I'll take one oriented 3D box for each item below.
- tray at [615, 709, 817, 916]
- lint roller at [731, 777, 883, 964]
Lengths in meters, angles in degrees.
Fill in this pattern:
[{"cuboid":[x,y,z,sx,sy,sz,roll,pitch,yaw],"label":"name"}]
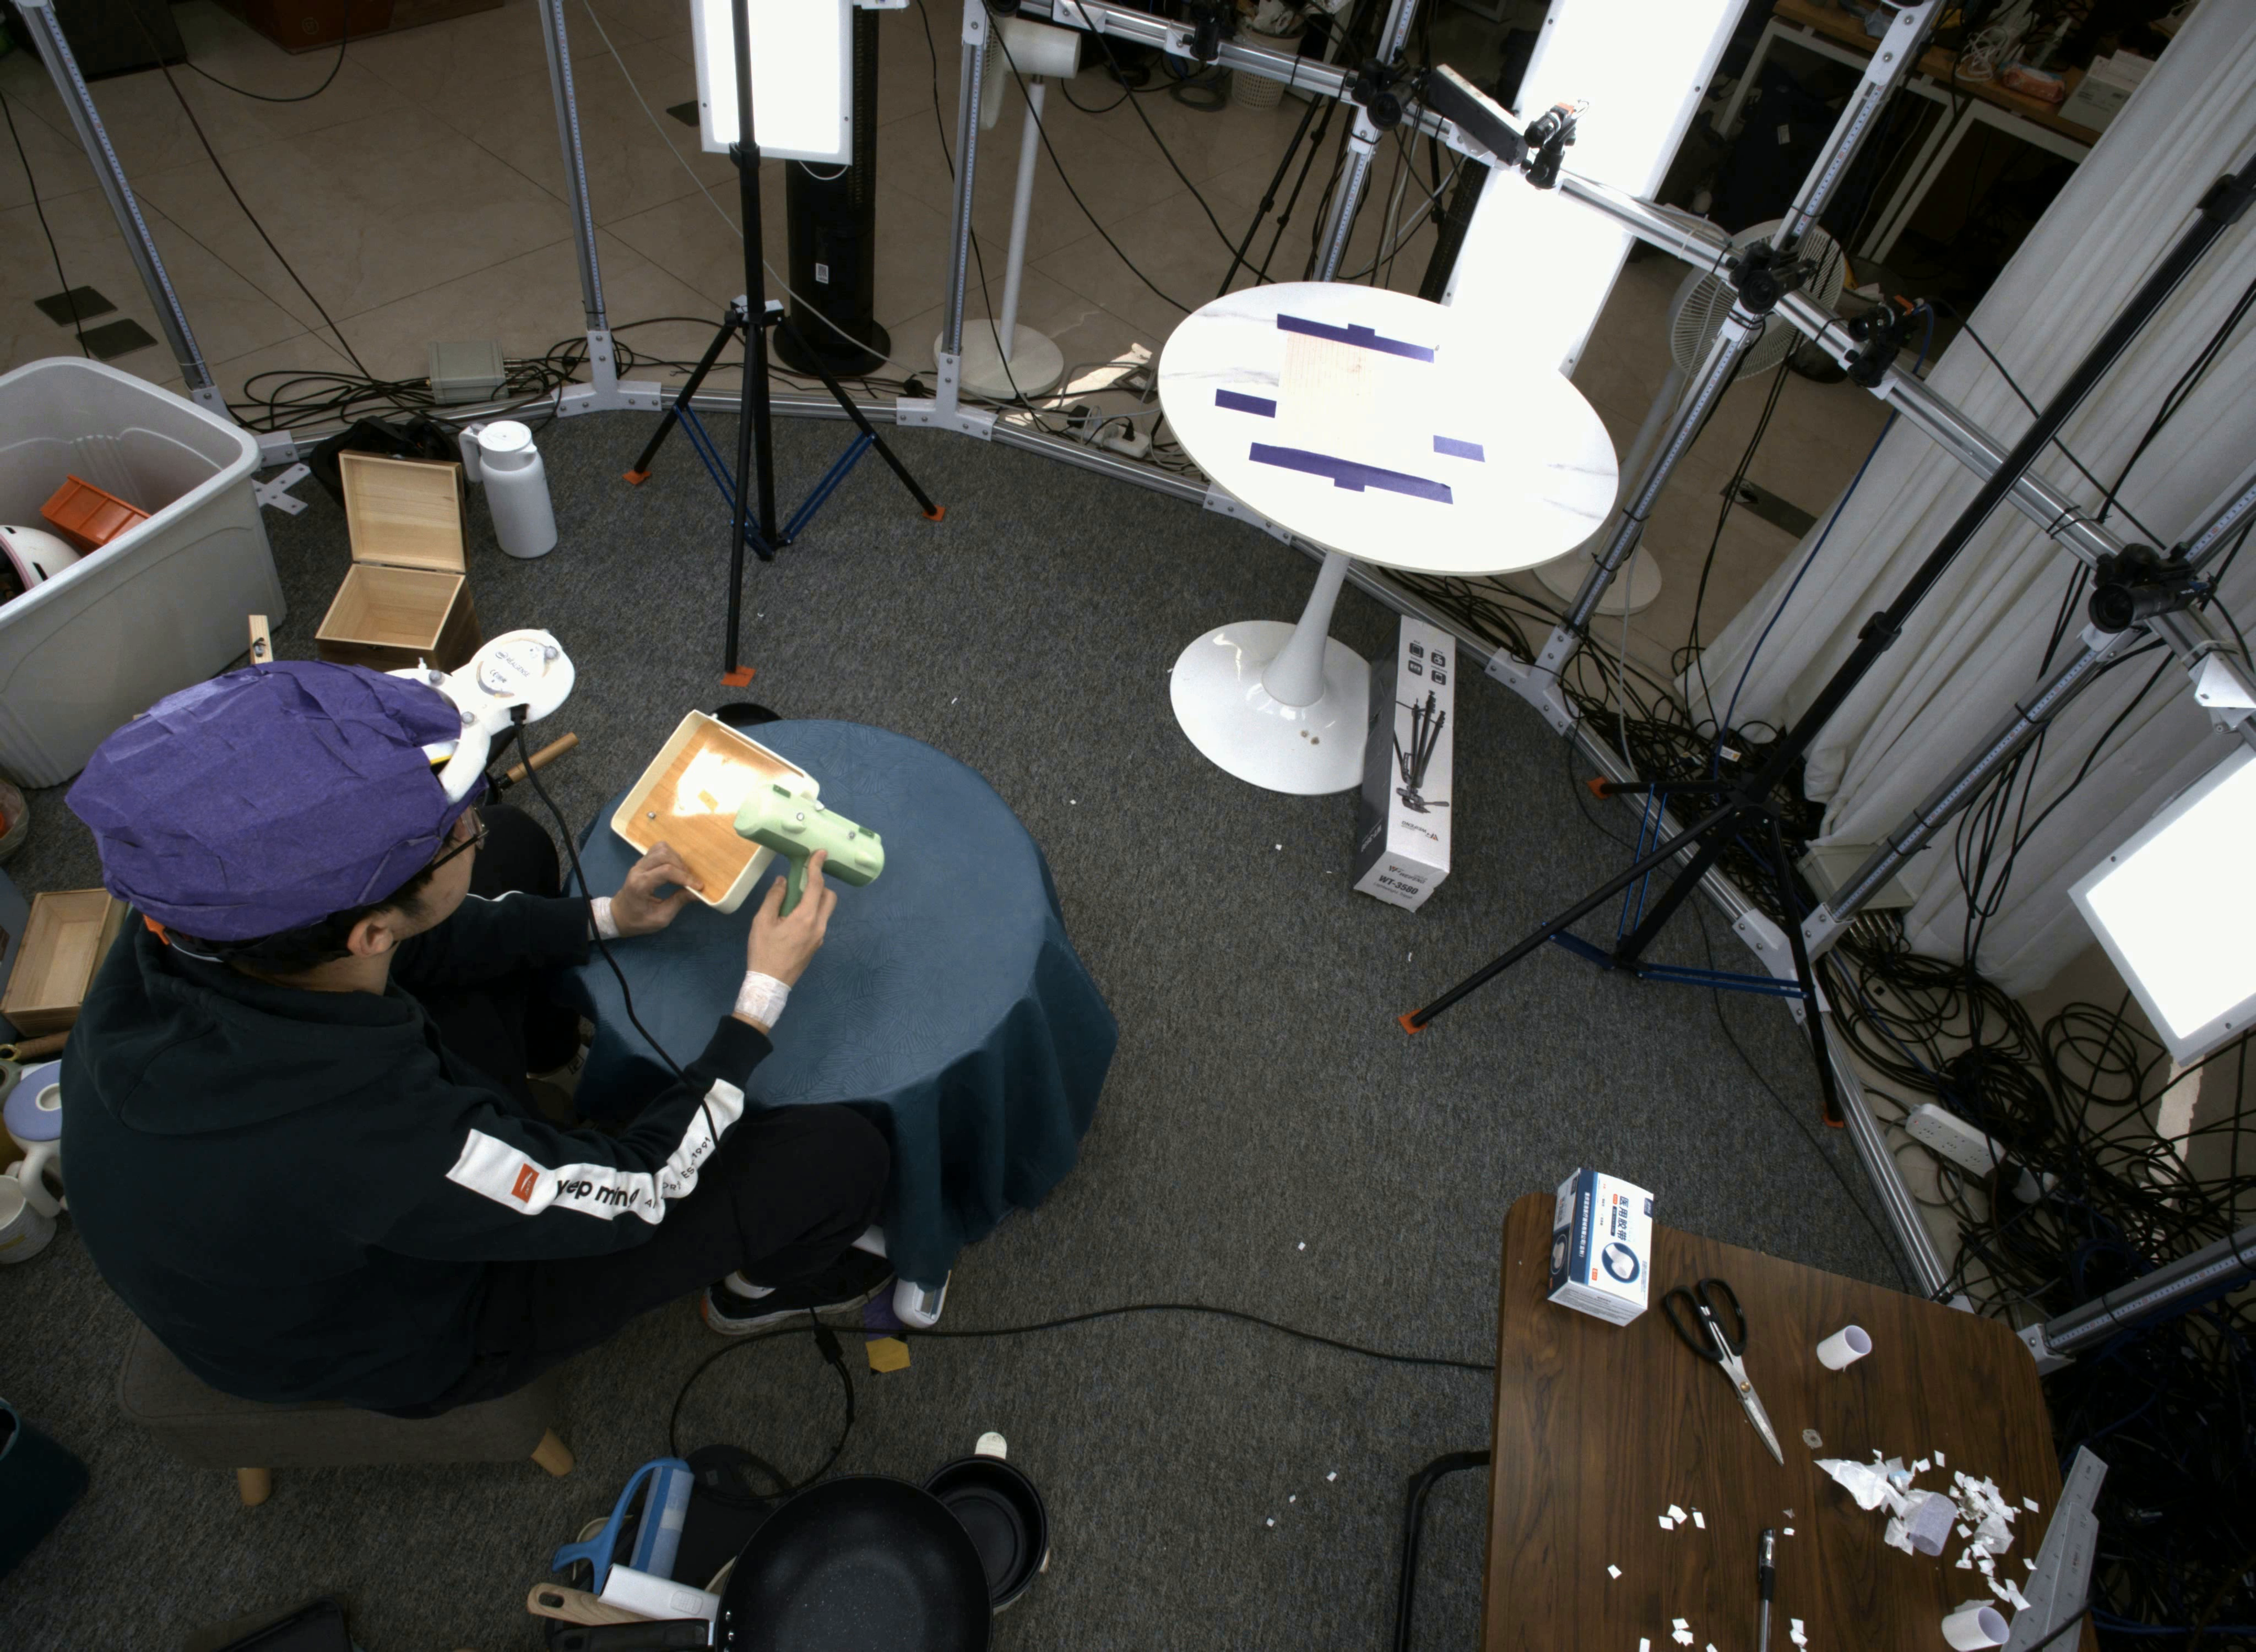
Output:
[{"cuboid":[-0.513,-0.024,1.582,0.289,0.028,0.192,26,80,39],"label":"tray"},{"cuboid":[-0.365,0.063,1.470,0.080,0.205,0.182,-7,66,32],"label":"lint roller"}]
